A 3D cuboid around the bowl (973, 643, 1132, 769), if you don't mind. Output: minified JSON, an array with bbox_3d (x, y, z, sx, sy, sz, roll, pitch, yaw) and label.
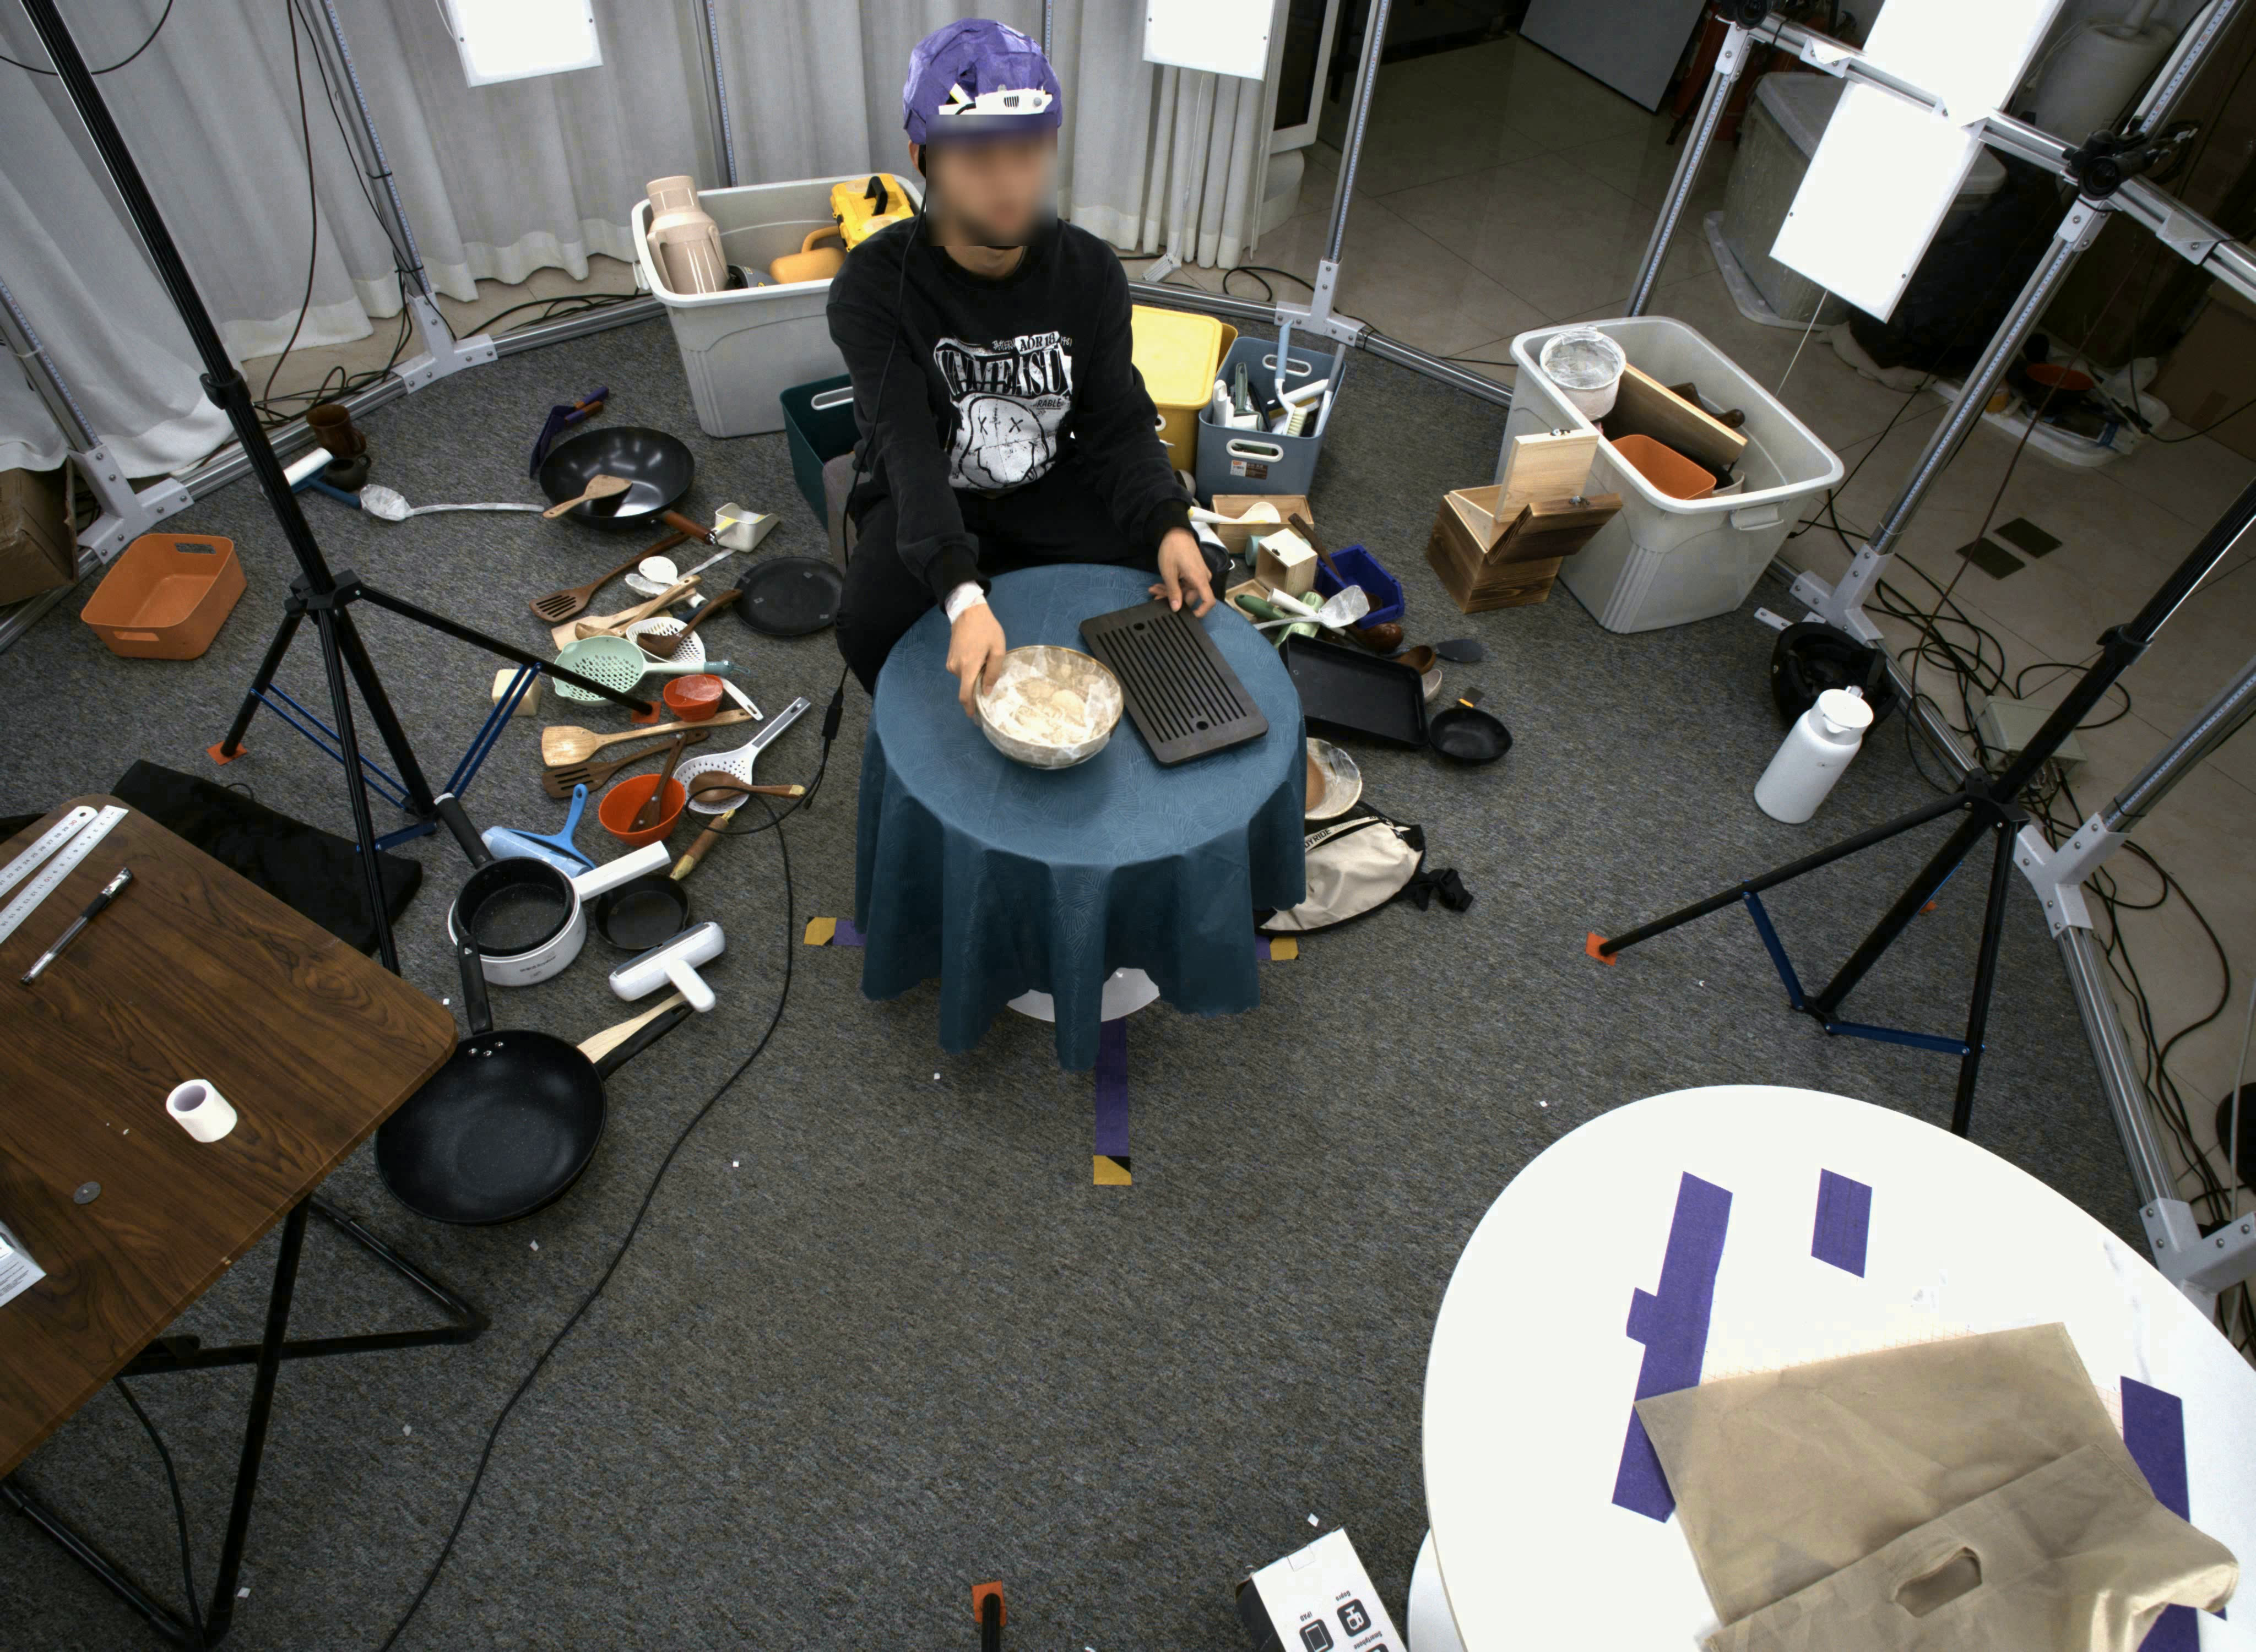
[{"bbox_3d":[-0.105,-0.149,1.741,0.214,0.092,0.220,4,45,-4],"label":"bowl"}]

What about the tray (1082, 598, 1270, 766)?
[{"bbox_3d":[0.065,-0.213,1.858,0.170,0.018,0.313,-18,52,-15],"label":"tray"}]
